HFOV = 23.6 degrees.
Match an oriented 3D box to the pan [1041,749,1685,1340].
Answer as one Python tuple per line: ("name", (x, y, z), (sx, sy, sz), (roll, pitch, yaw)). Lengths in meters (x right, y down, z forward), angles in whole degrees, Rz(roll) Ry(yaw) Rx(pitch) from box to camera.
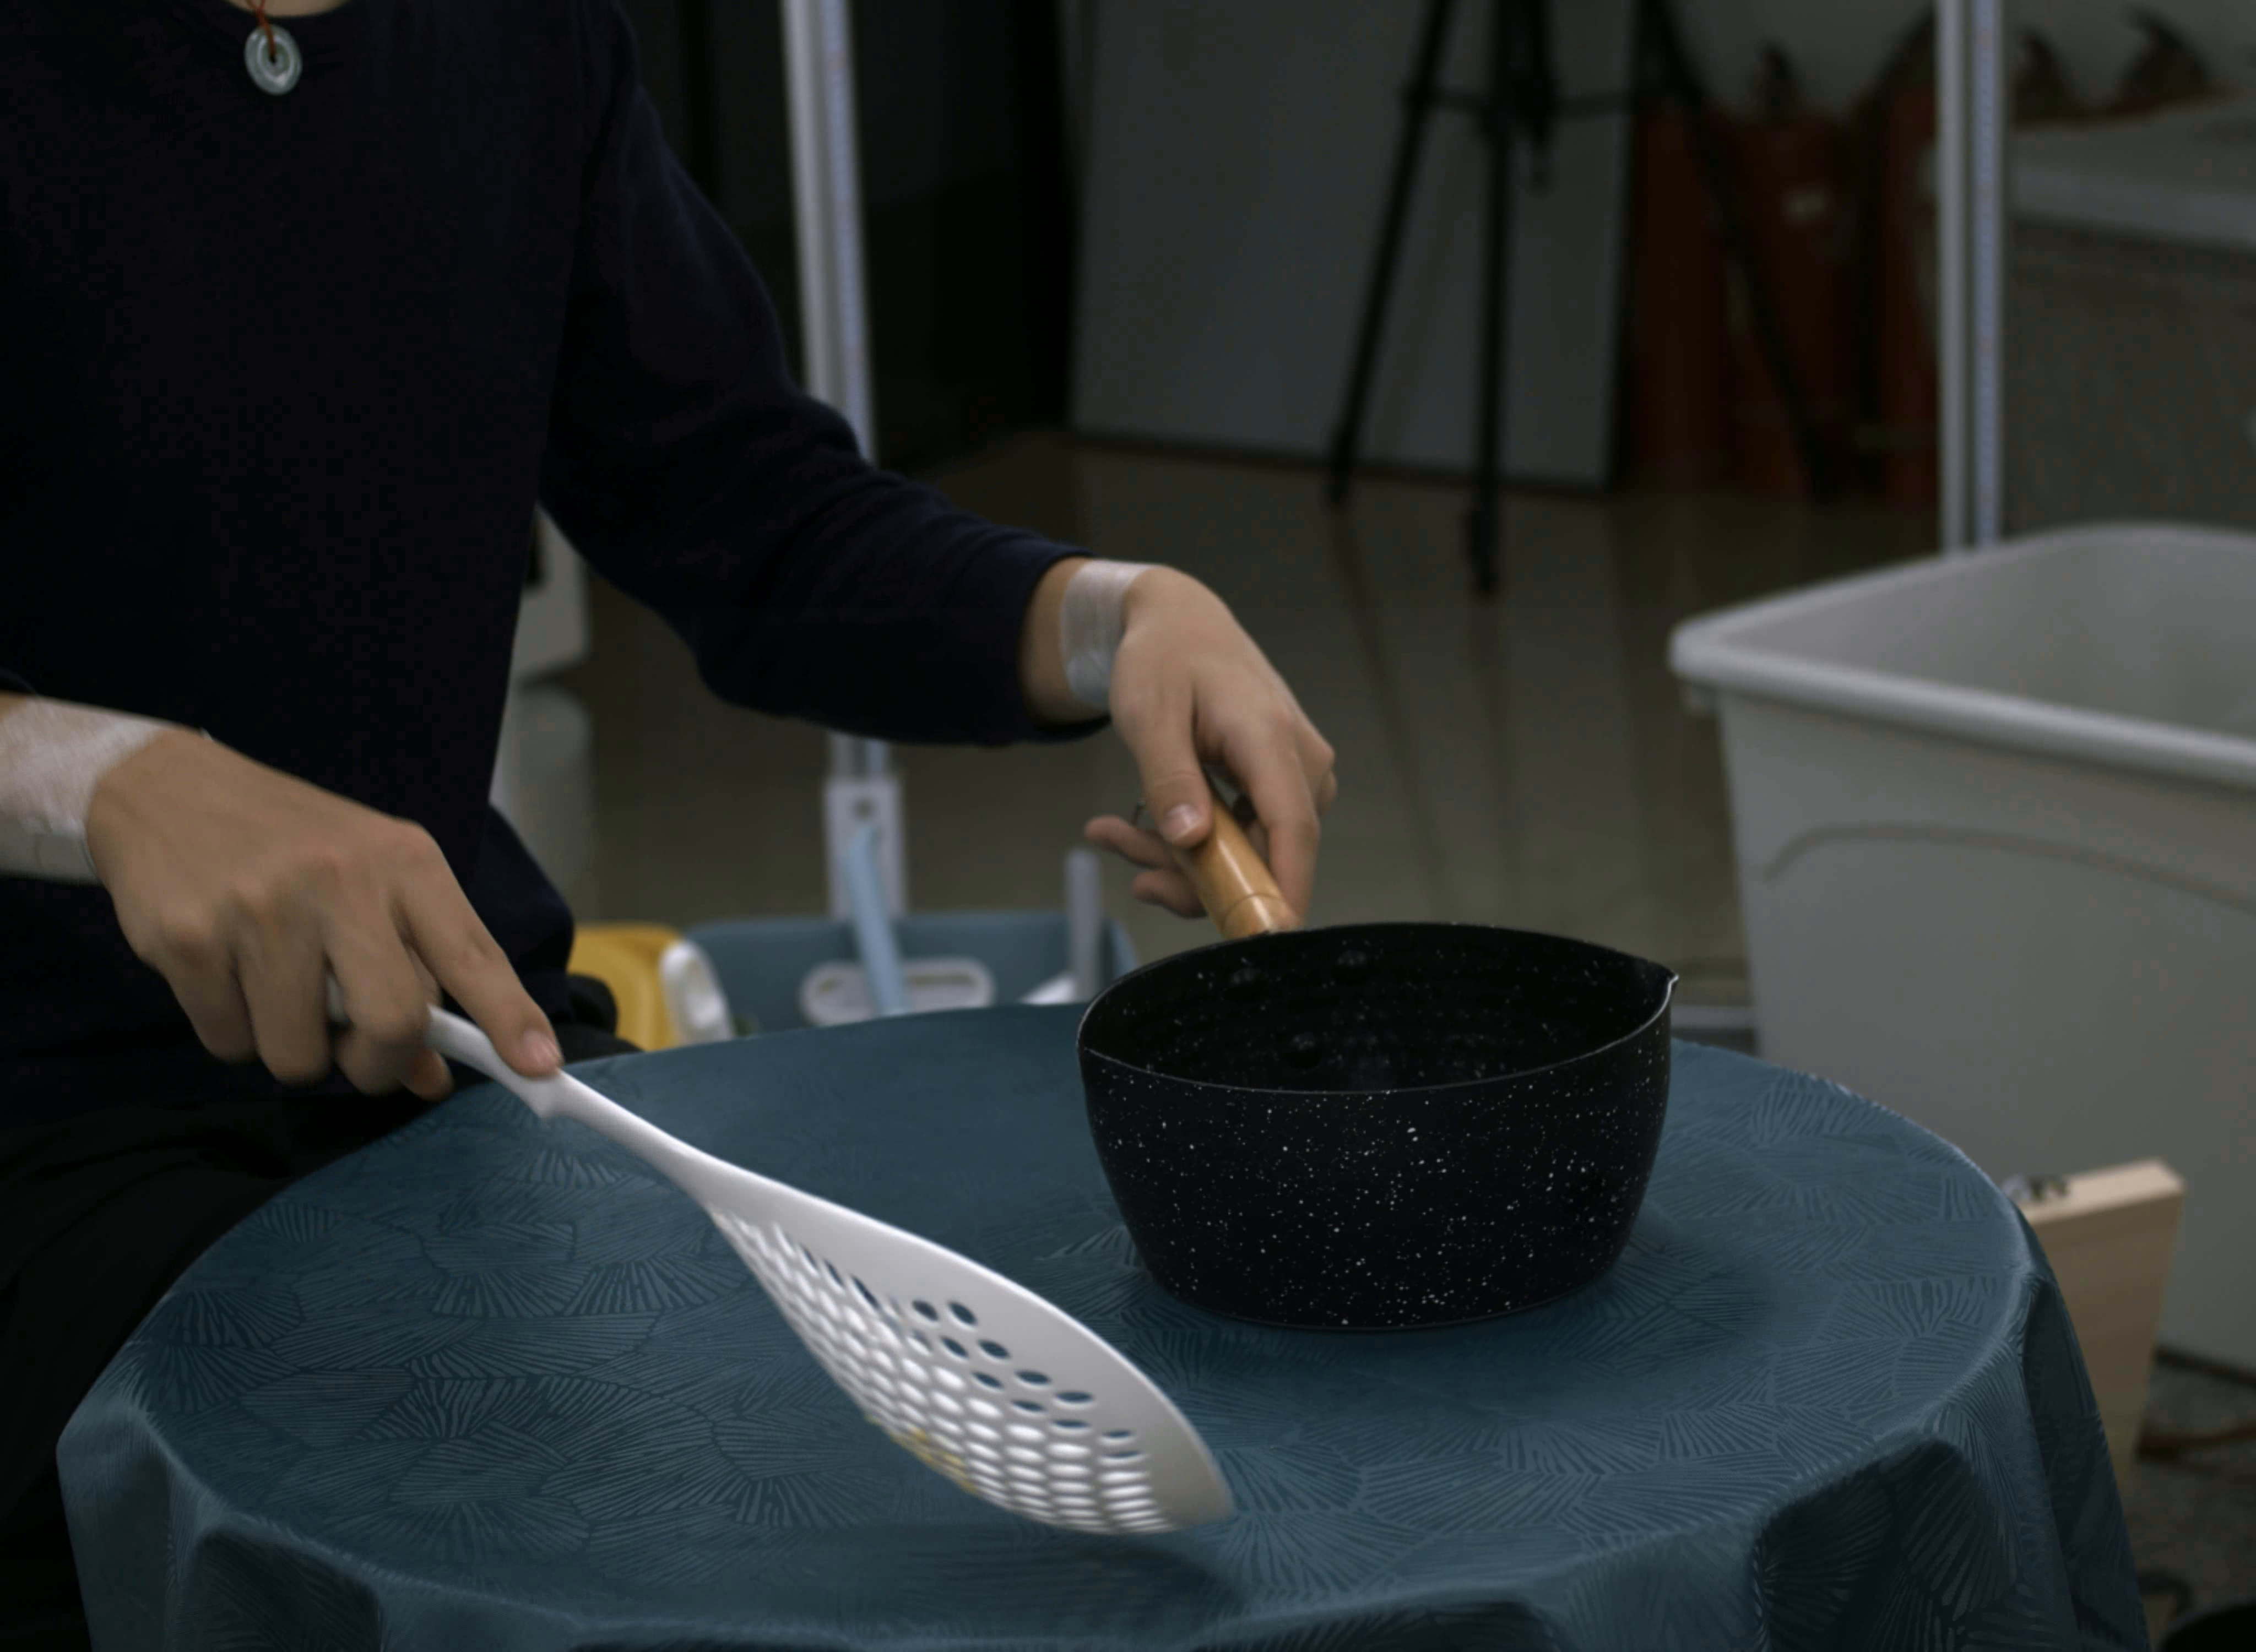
("pan", (0.058, 0.065, 1.752), (0.203, 0.109, 0.345), (-8, 16, -12))

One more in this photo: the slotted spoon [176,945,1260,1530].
("slotted spoon", (-0.116, 0.104, 1.470), (0.350, 0.050, 0.136), (31, -14, 25))
